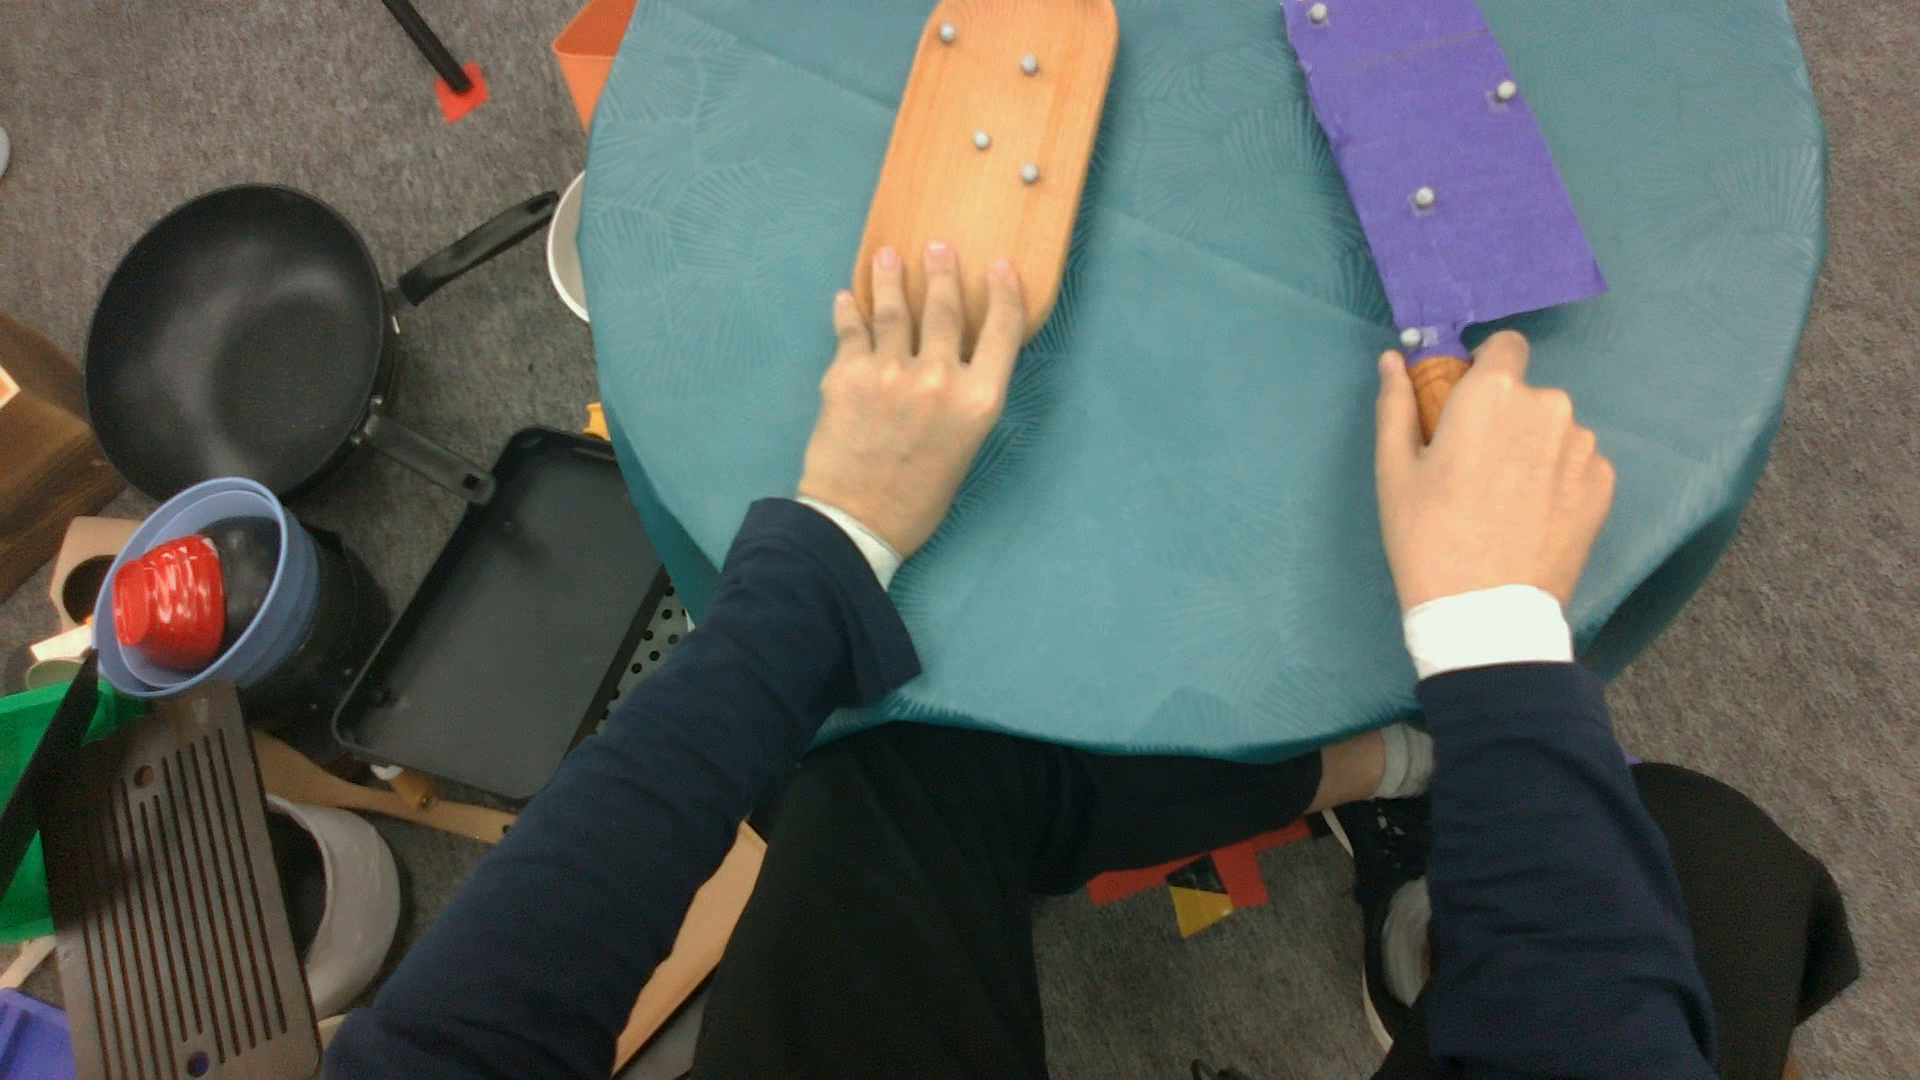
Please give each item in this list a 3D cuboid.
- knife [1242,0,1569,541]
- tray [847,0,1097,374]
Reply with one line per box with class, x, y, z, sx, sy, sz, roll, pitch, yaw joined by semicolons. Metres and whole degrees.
knife;0.217;-0.152;0.626;0.104;0.032;0.316;-13;66;5
tray;0.008;-0.185;0.673;0.101;0.020;0.232;5;71;17
